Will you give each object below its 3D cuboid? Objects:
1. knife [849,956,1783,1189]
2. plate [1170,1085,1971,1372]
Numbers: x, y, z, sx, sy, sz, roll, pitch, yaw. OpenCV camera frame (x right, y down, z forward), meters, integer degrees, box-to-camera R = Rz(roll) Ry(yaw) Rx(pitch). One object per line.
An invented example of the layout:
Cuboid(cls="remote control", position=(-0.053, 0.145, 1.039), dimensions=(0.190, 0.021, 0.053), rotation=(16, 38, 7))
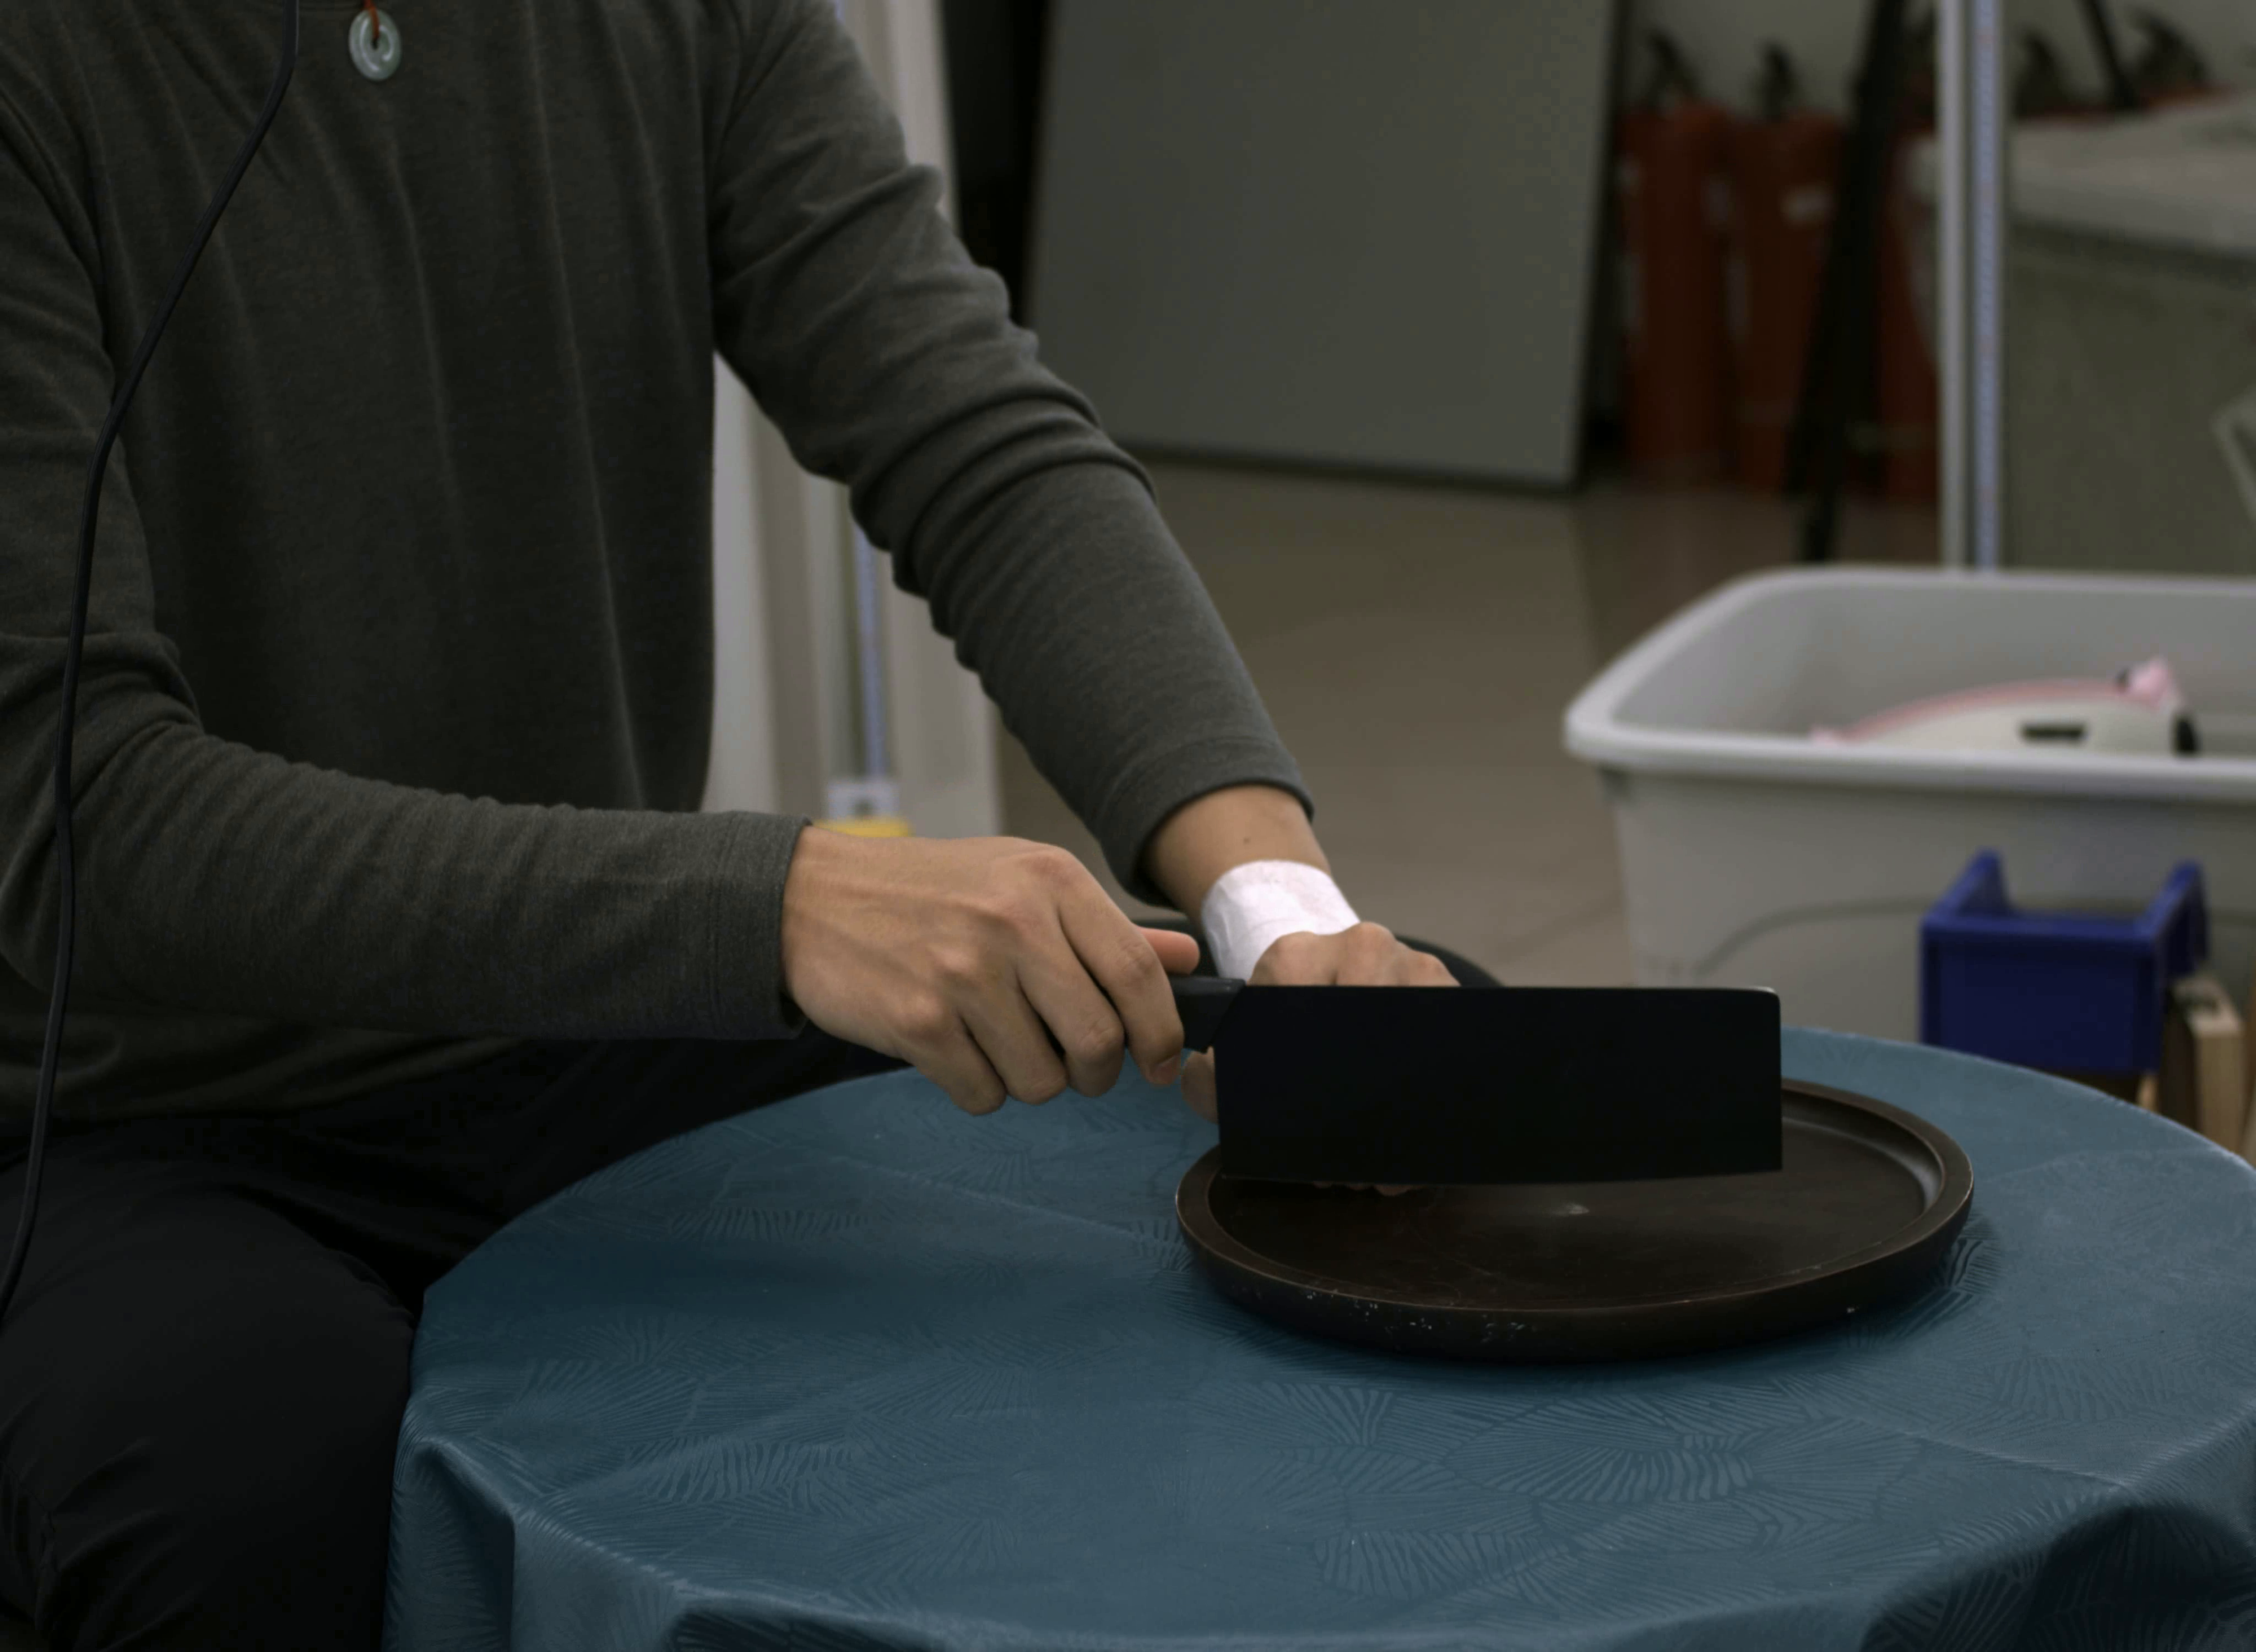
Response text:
Cuboid(cls="knife", position=(0.058, 0.076, 1.692), dimensions=(0.300, 0.082, 0.021), rotation=(4, 15, 13))
Cuboid(cls="plate", position=(0.138, 0.121, 1.688), dimensions=(0.251, 0.029, 0.255), rotation=(-5, 14, 0))
